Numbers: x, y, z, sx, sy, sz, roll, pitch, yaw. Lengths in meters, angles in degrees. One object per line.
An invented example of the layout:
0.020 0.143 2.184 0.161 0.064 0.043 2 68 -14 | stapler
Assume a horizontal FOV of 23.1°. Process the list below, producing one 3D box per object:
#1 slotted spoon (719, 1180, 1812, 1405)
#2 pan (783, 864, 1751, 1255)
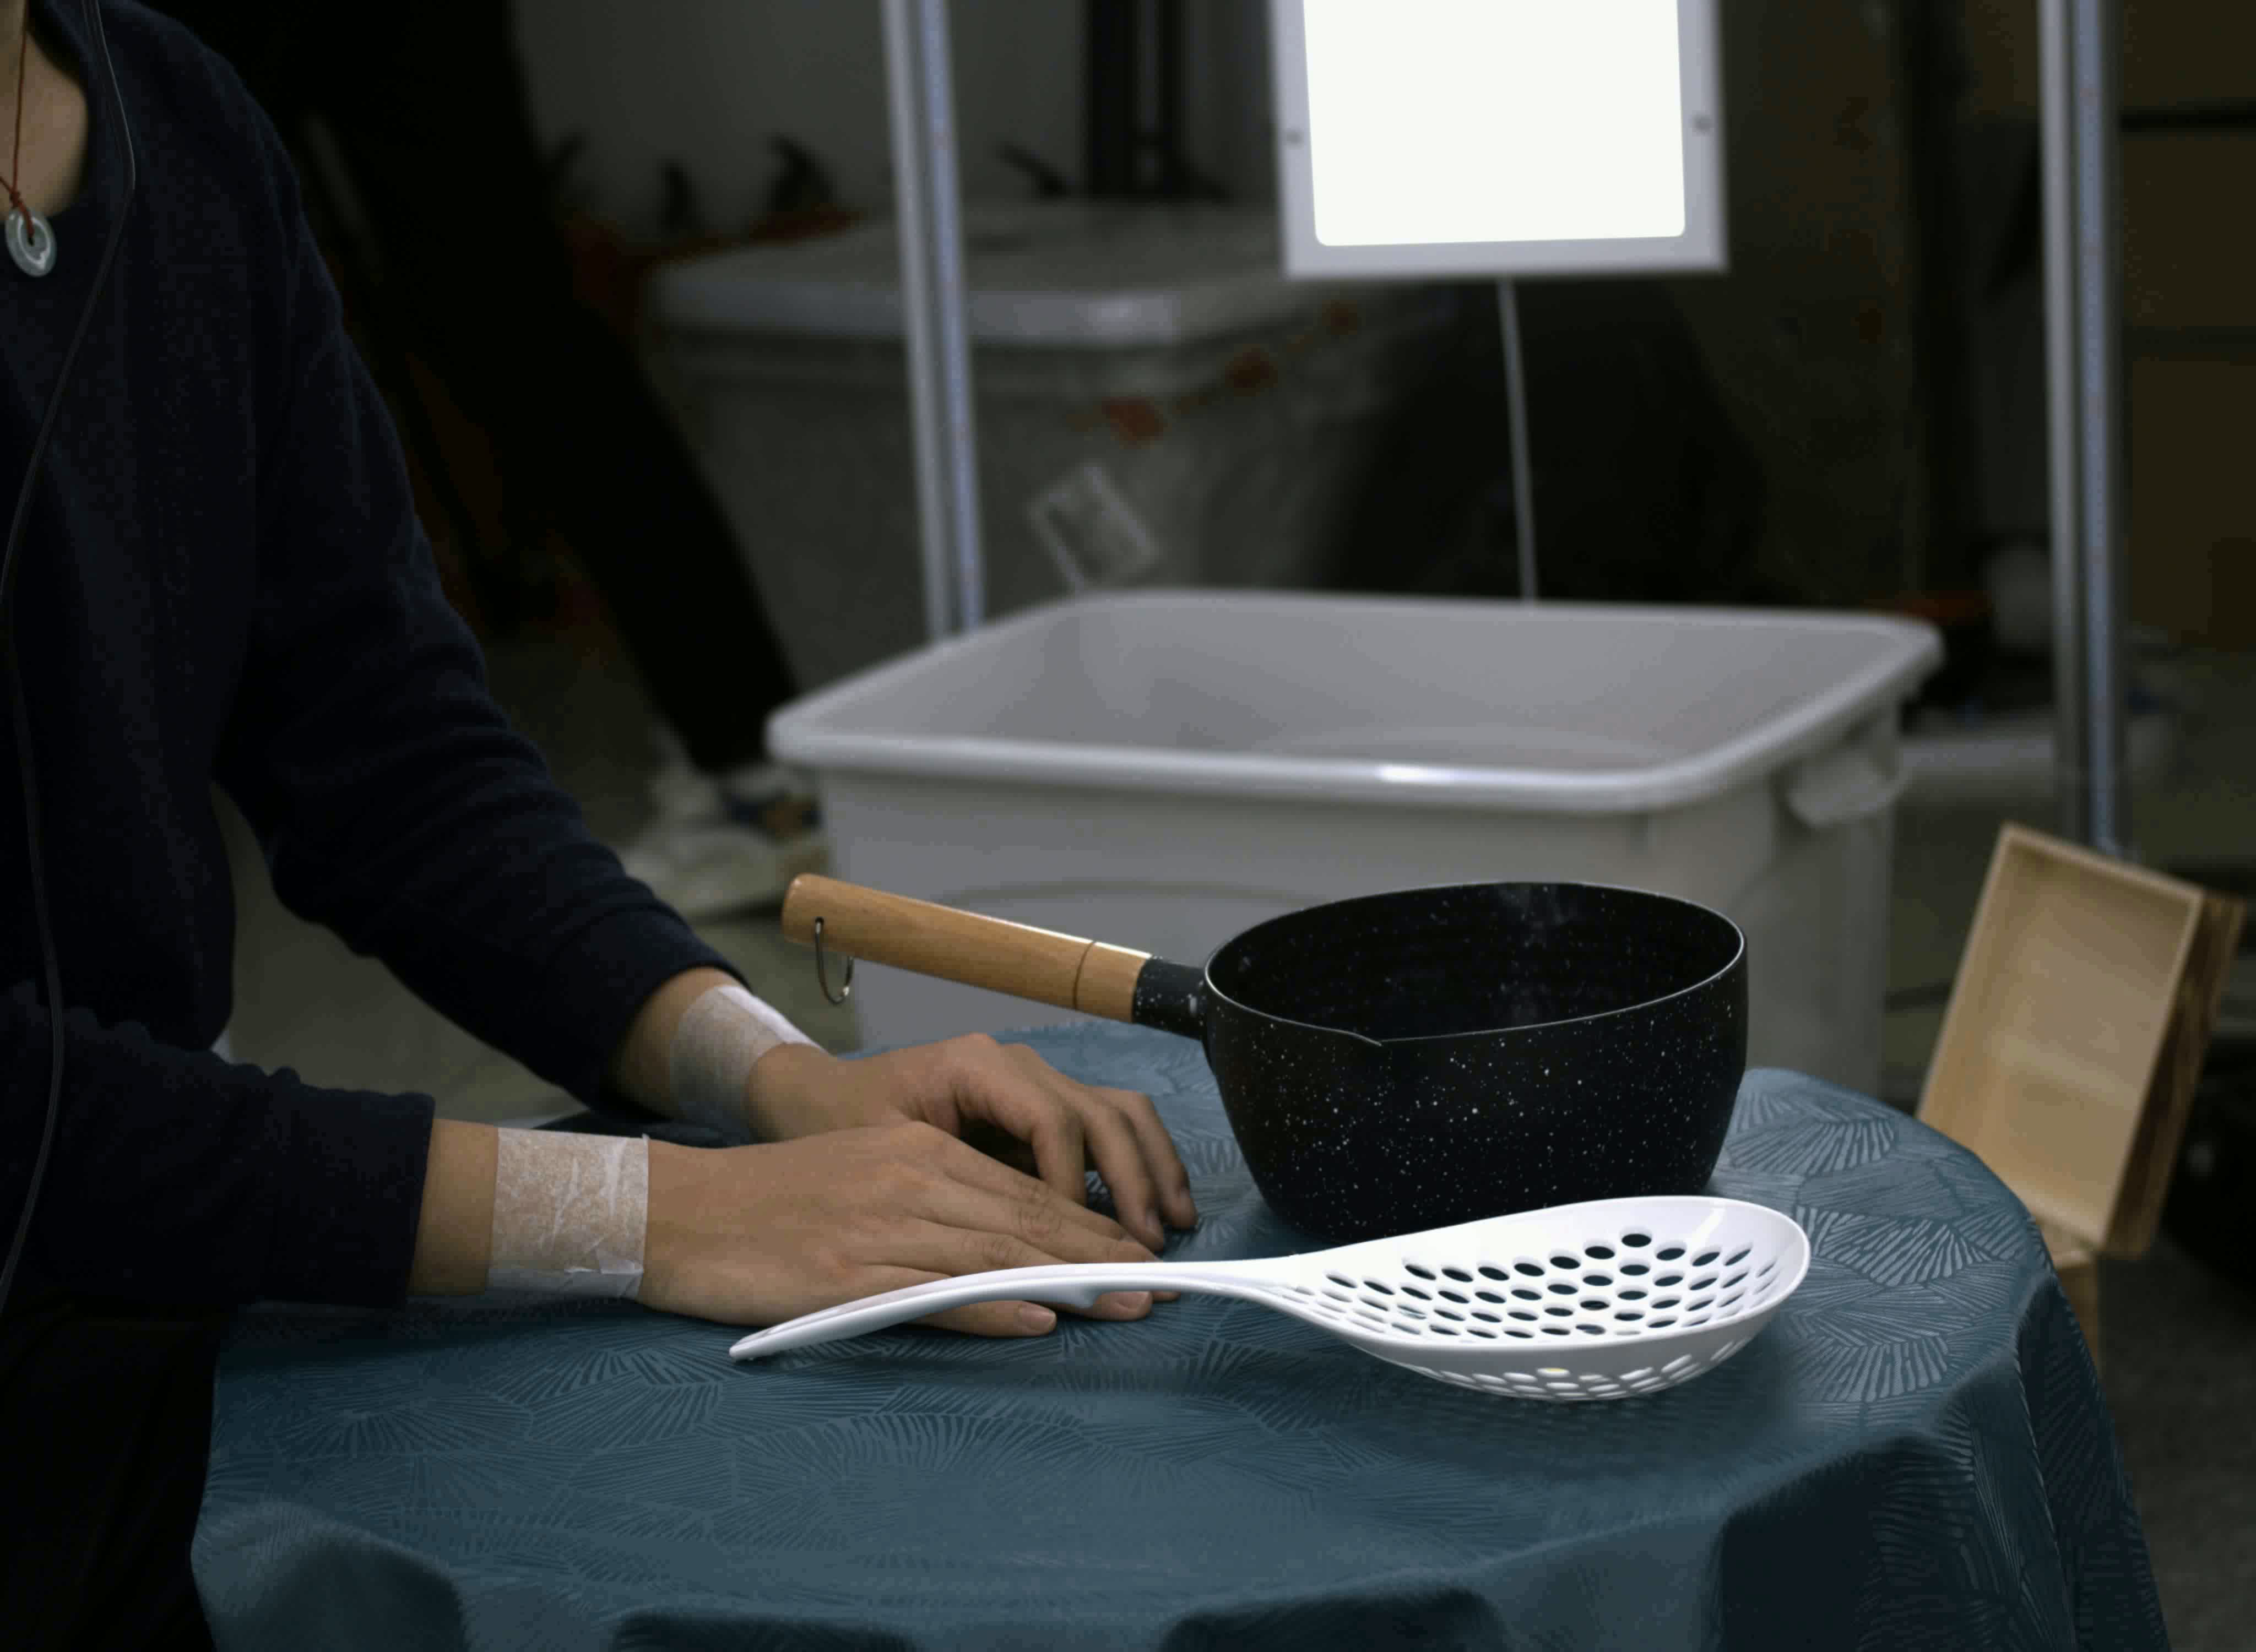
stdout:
0.039 0.149 1.700 0.352 0.050 0.134 1 17 18 | slotted spoon
0.043 0.071 1.880 0.347 0.108 0.204 1 16 19 | pan
